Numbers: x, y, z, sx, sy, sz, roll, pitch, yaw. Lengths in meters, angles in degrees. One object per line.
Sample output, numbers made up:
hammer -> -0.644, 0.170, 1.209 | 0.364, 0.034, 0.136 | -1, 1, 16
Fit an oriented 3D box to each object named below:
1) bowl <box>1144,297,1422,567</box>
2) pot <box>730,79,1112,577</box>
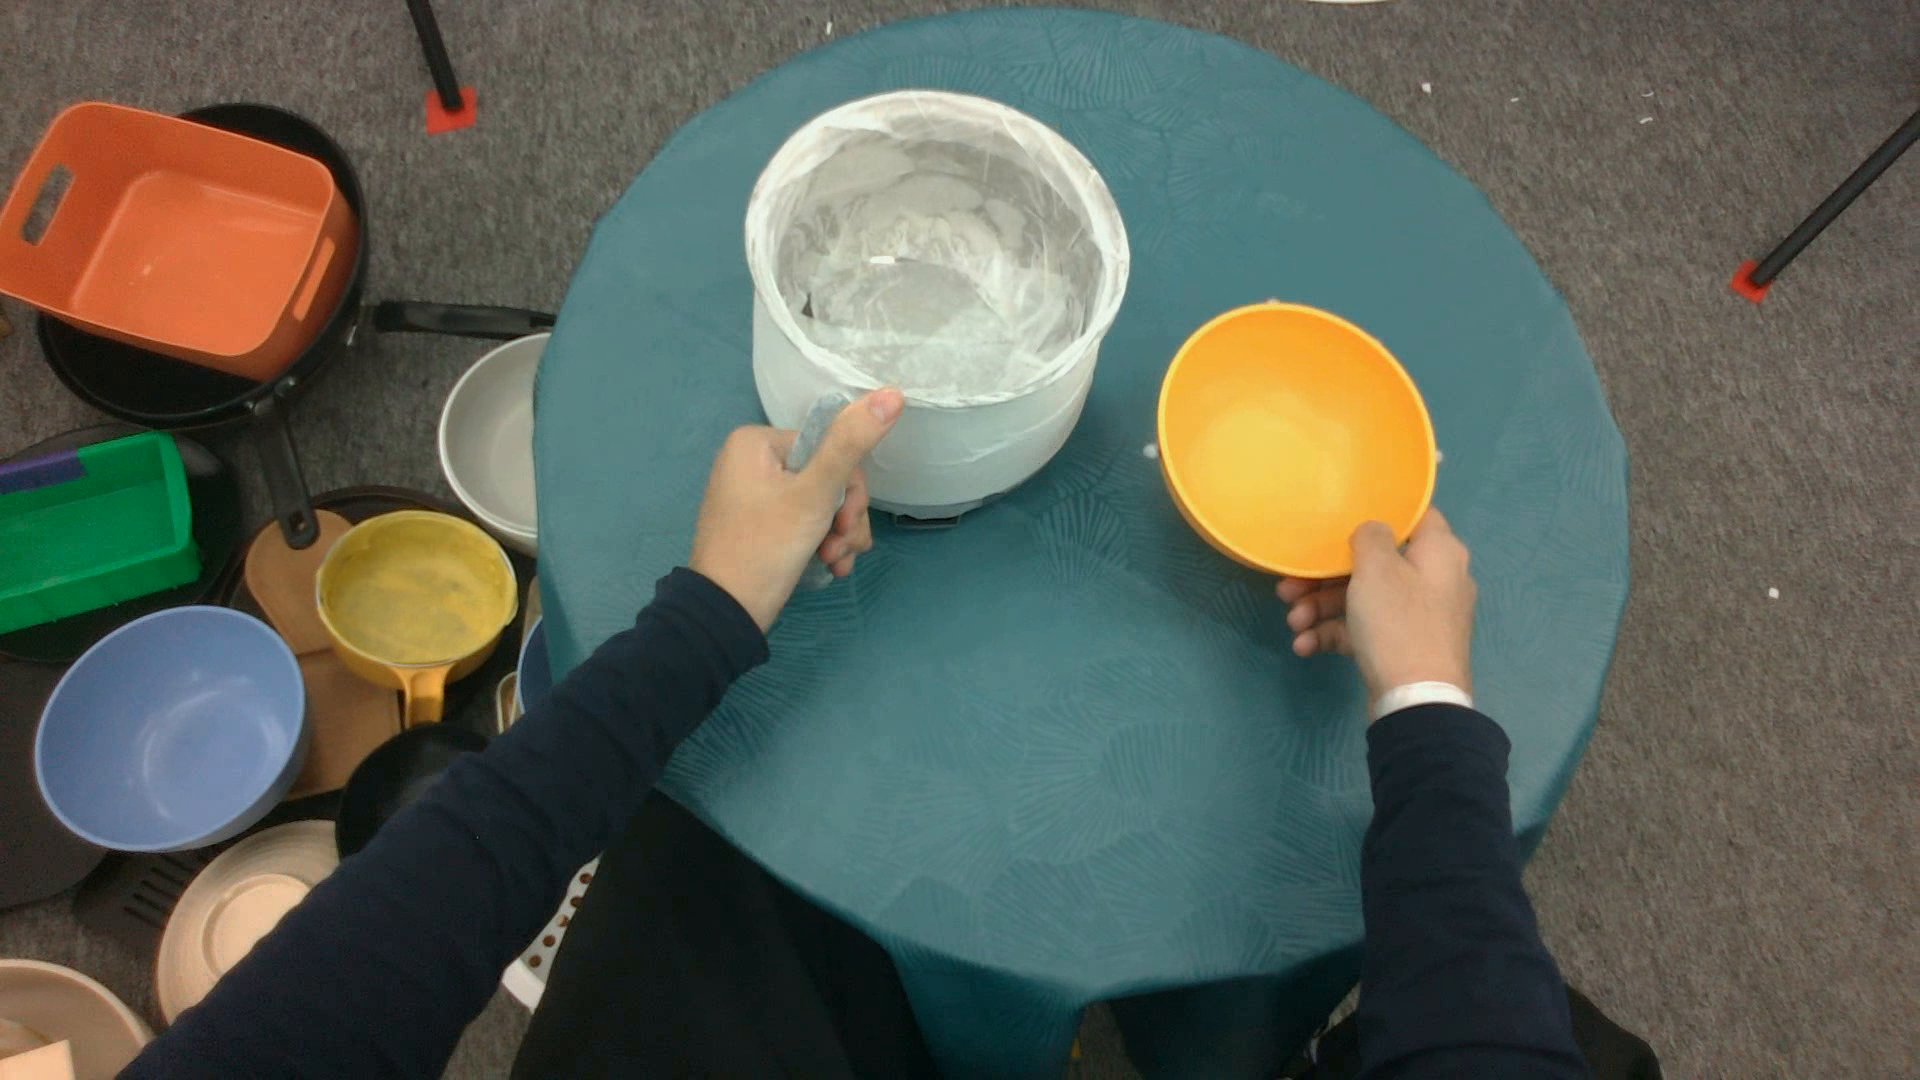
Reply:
bowl -> 0.155, -0.047, 0.703 | 0.145, 0.060, 0.146 | 4, 71, -11
pot -> -0.034, -0.096, 0.678 | 0.178, 0.136, 0.234 | 24, 64, 6
